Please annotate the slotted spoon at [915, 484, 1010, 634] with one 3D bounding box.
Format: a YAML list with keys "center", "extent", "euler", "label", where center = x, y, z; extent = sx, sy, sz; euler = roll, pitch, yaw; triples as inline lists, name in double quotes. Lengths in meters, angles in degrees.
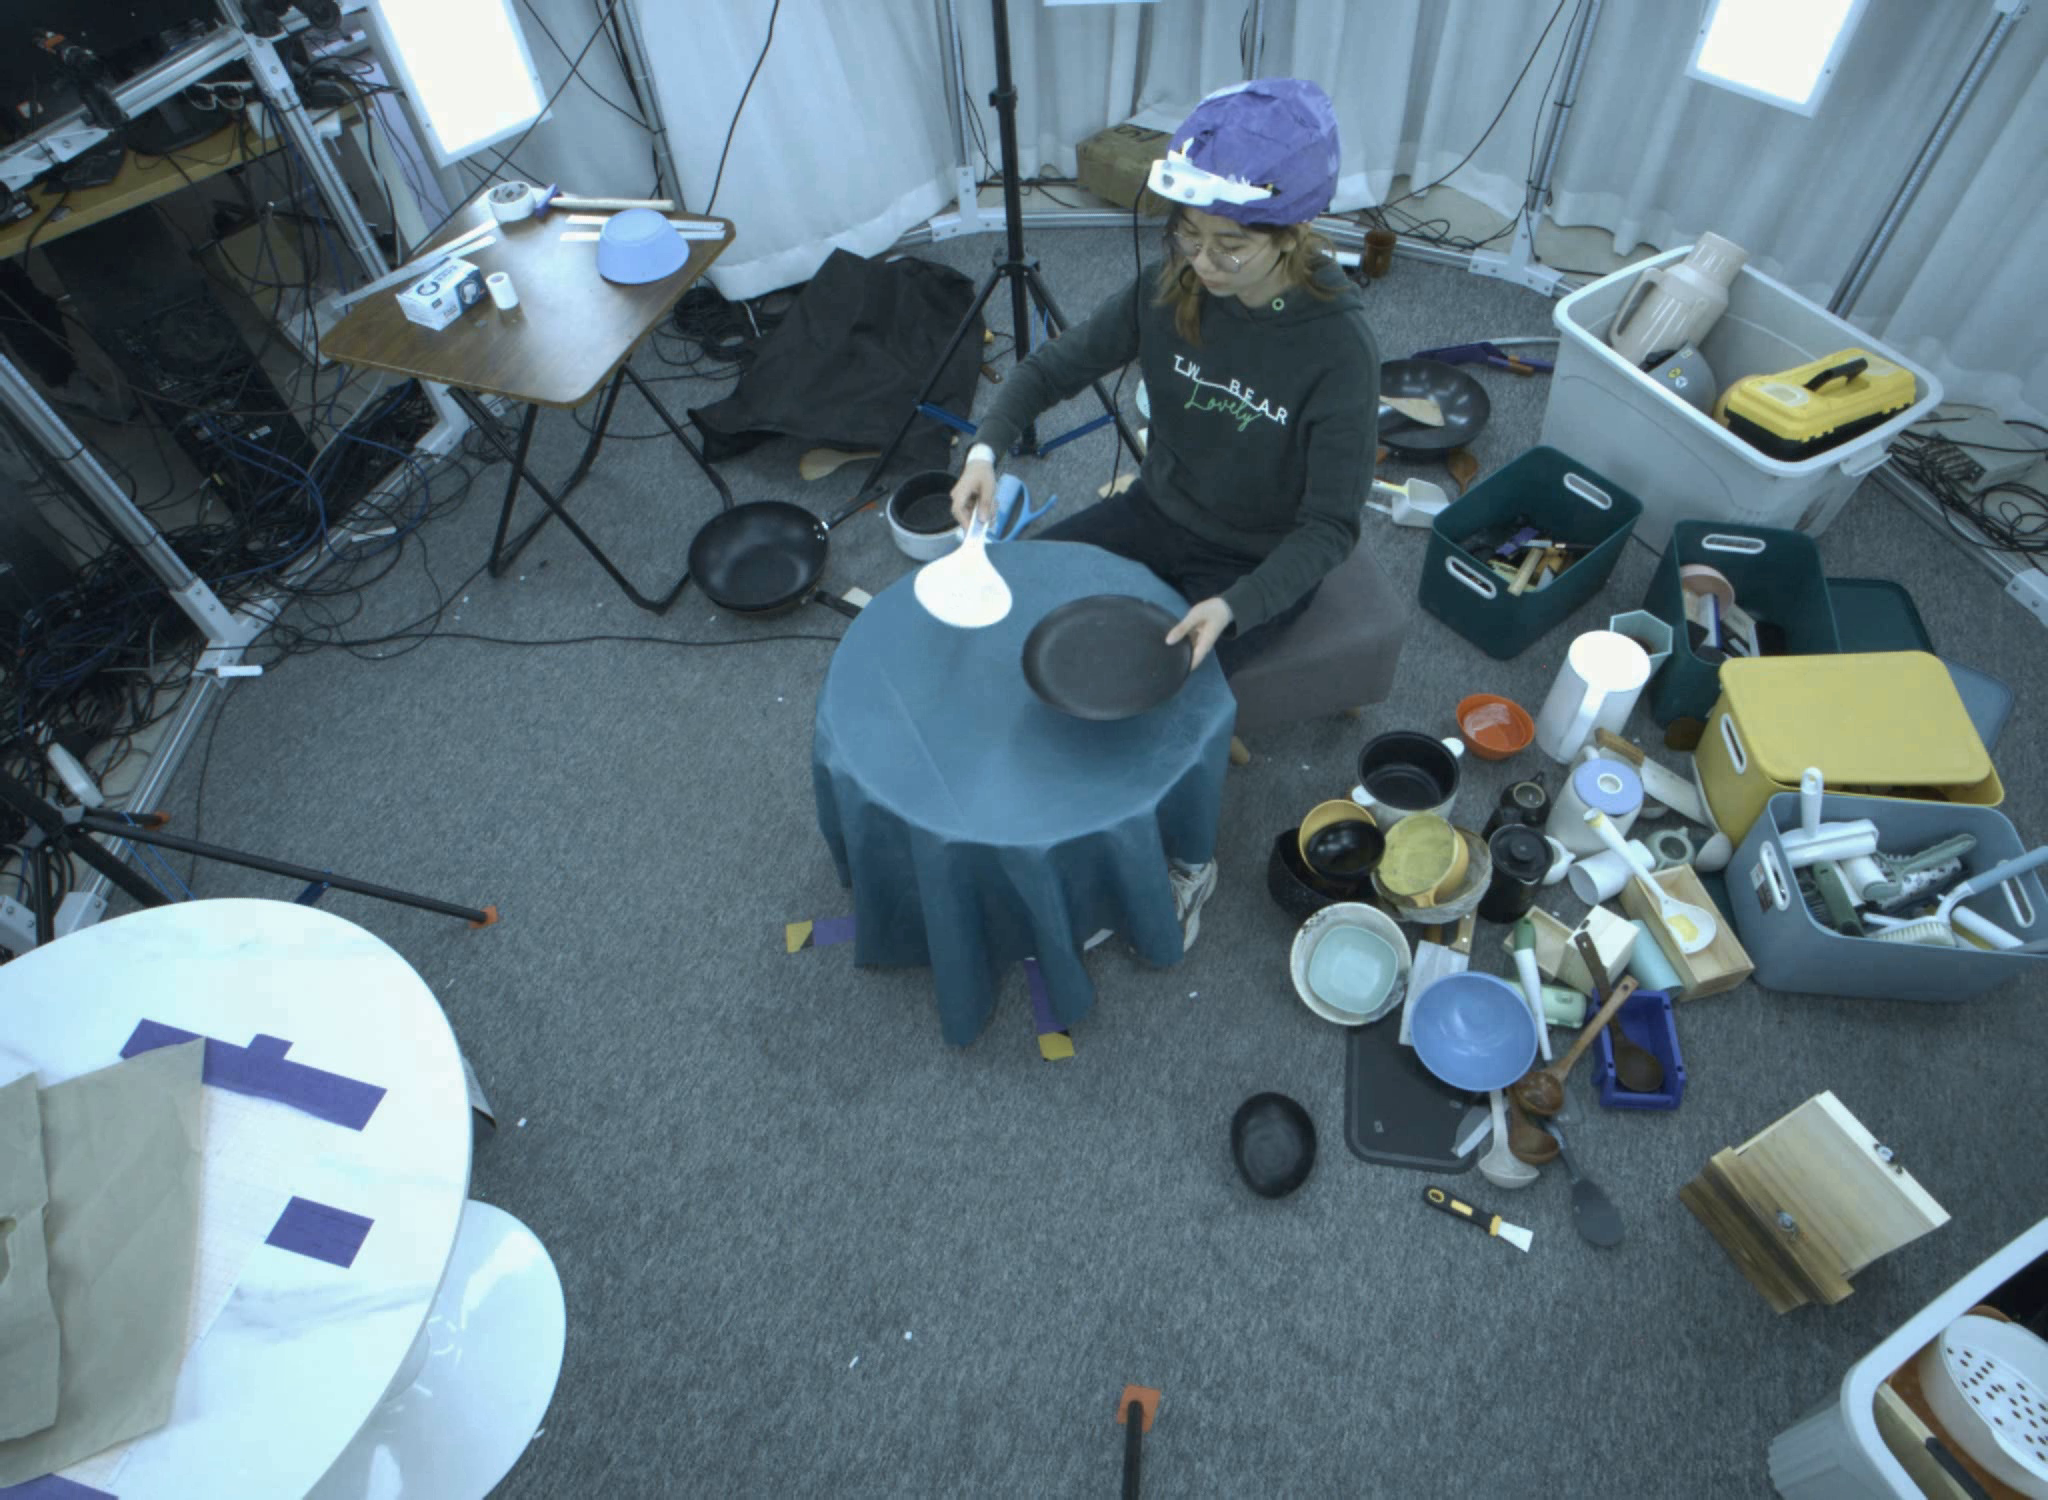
- center: [-0.074, -0.286, 1.791]
  extent: [0.137, 0.046, 0.347]
  euler: [15, 51, -6]
  label: "slotted spoon"

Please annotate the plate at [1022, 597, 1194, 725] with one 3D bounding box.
- center: [0.120, -0.125, 1.756]
  extent: [0.244, 0.024, 0.242]
  euler: [-1, 53, 3]
  label: "plate"
